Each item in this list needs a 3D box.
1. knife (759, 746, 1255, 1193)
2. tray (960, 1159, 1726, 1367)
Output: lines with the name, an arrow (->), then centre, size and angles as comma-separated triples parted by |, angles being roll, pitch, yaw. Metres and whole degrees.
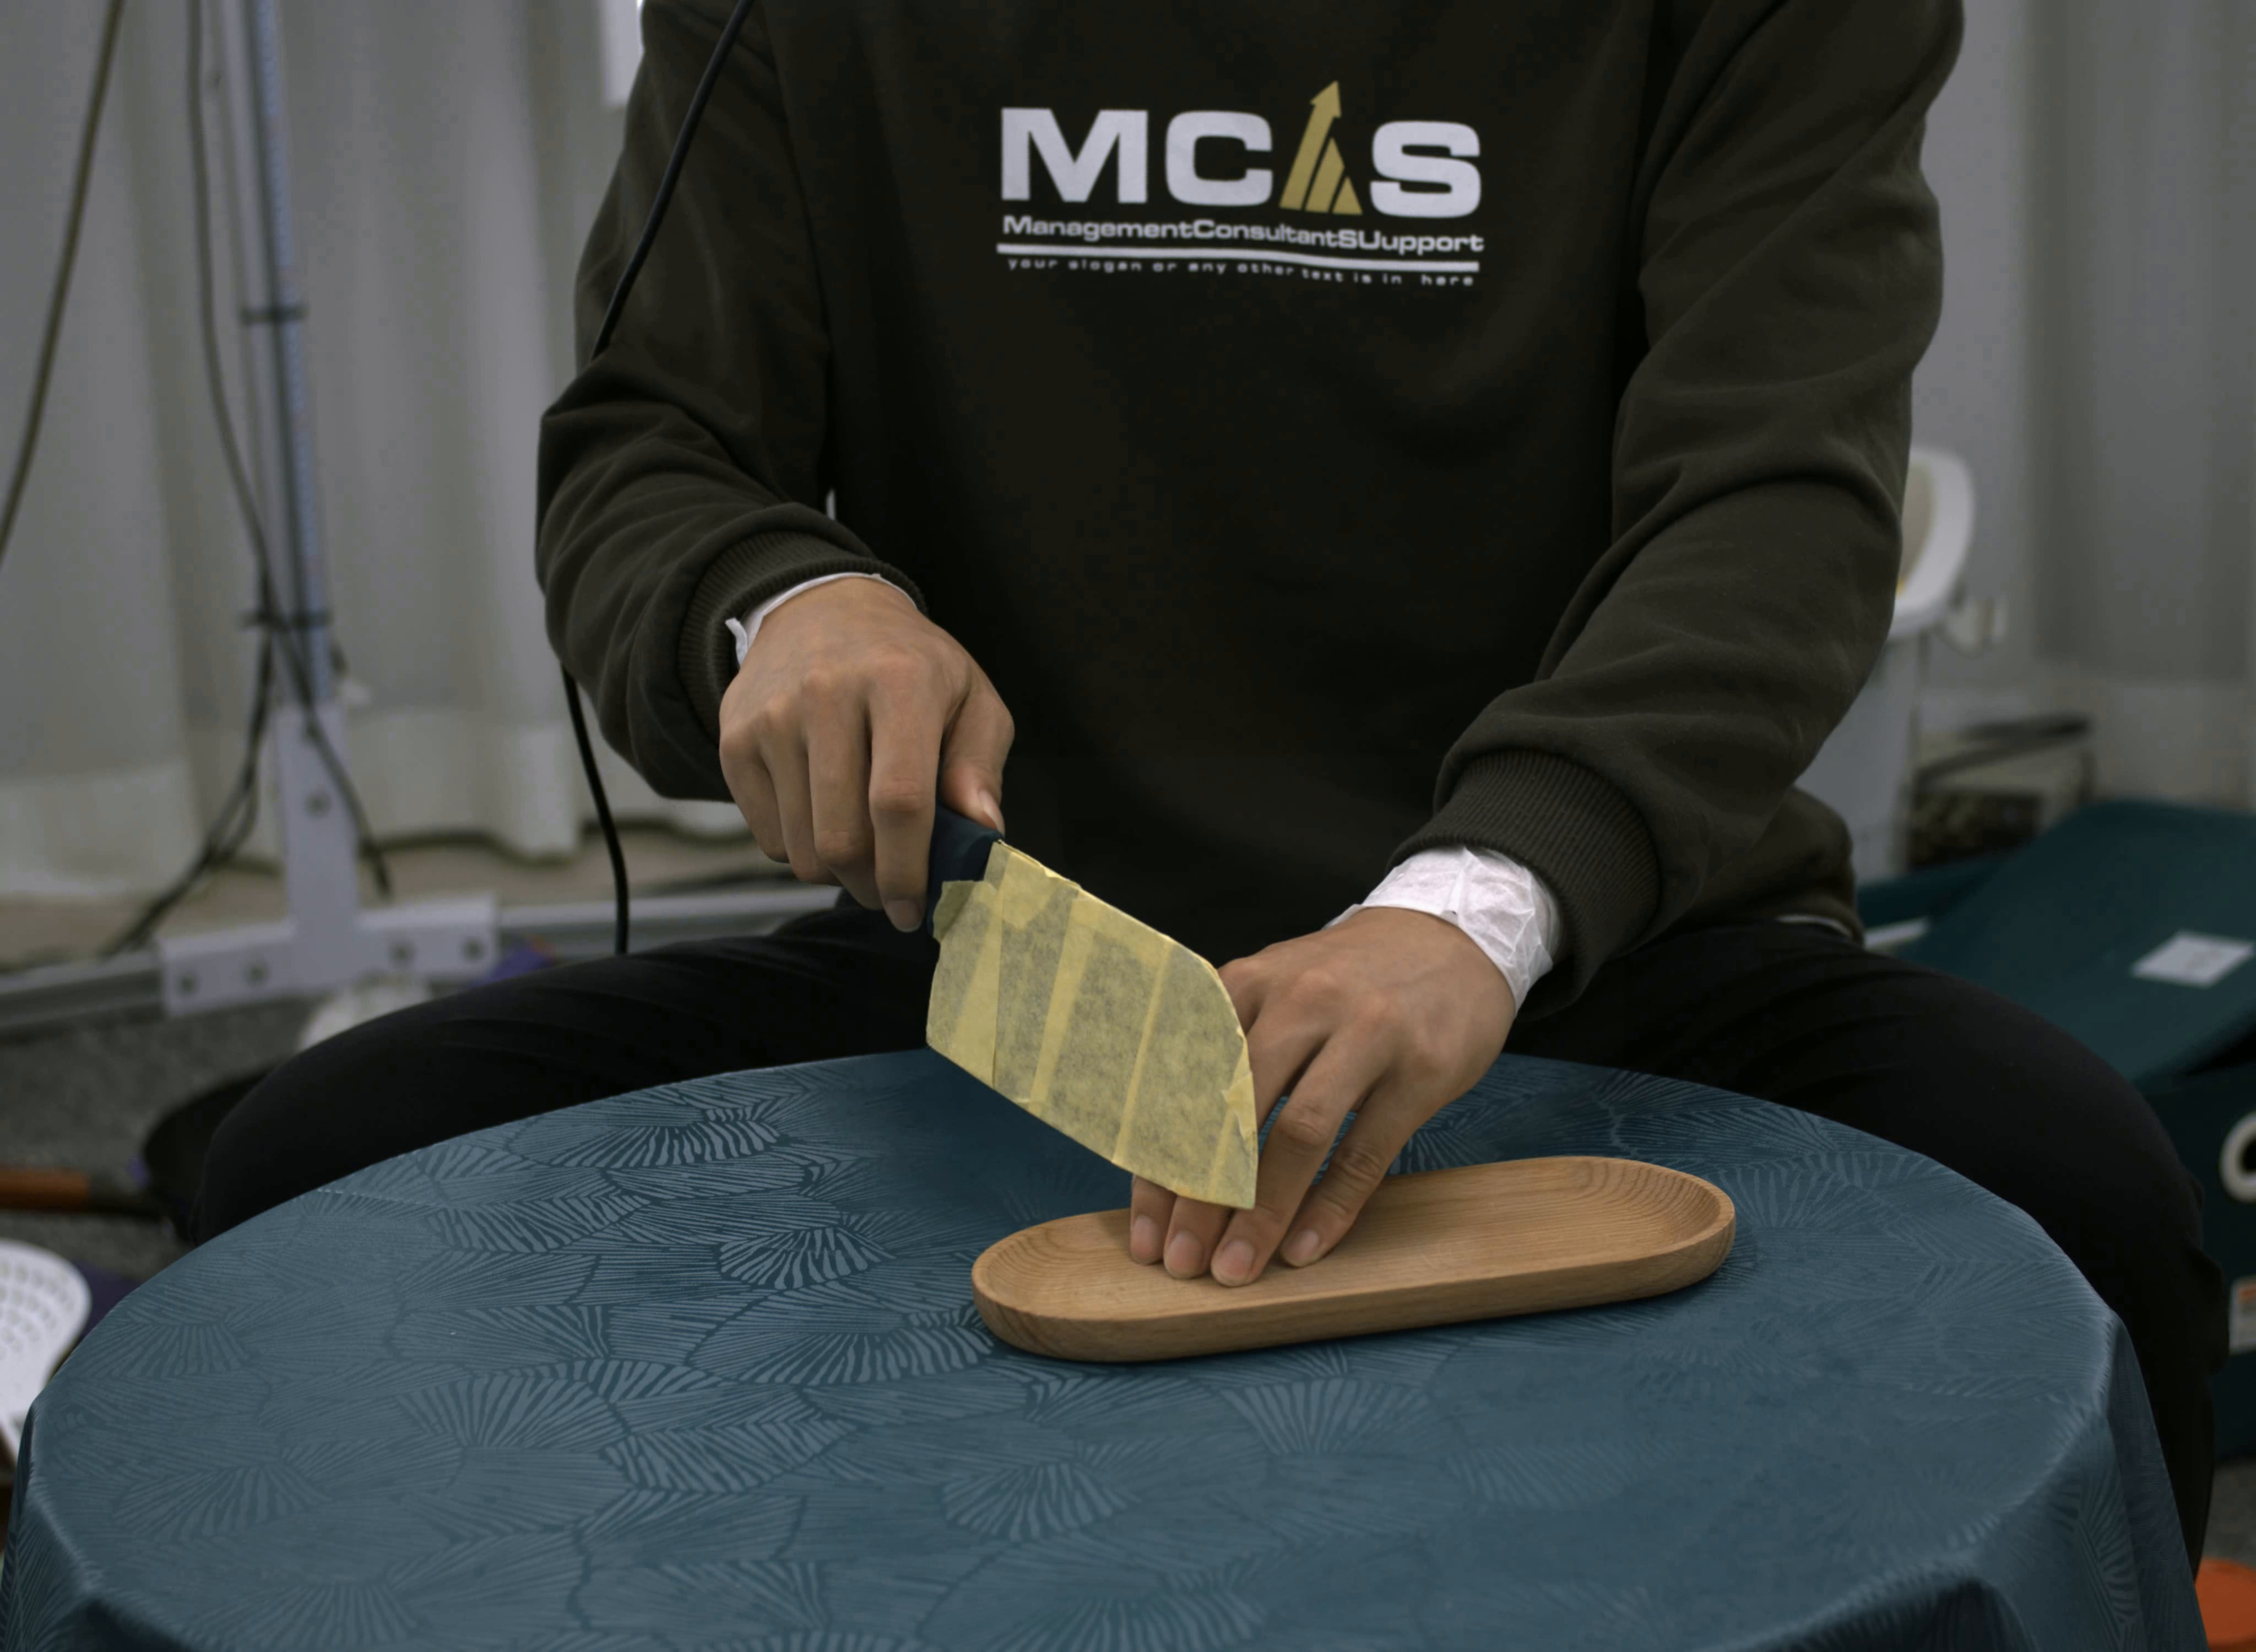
knife -> -0.041, 0.040, 1.695 | 0.027, 0.081, 0.292 | 8, 16, -36
tray -> 0.064, 0.130, 1.619 | 0.230, 0.020, 0.102 | -8, 14, -11
